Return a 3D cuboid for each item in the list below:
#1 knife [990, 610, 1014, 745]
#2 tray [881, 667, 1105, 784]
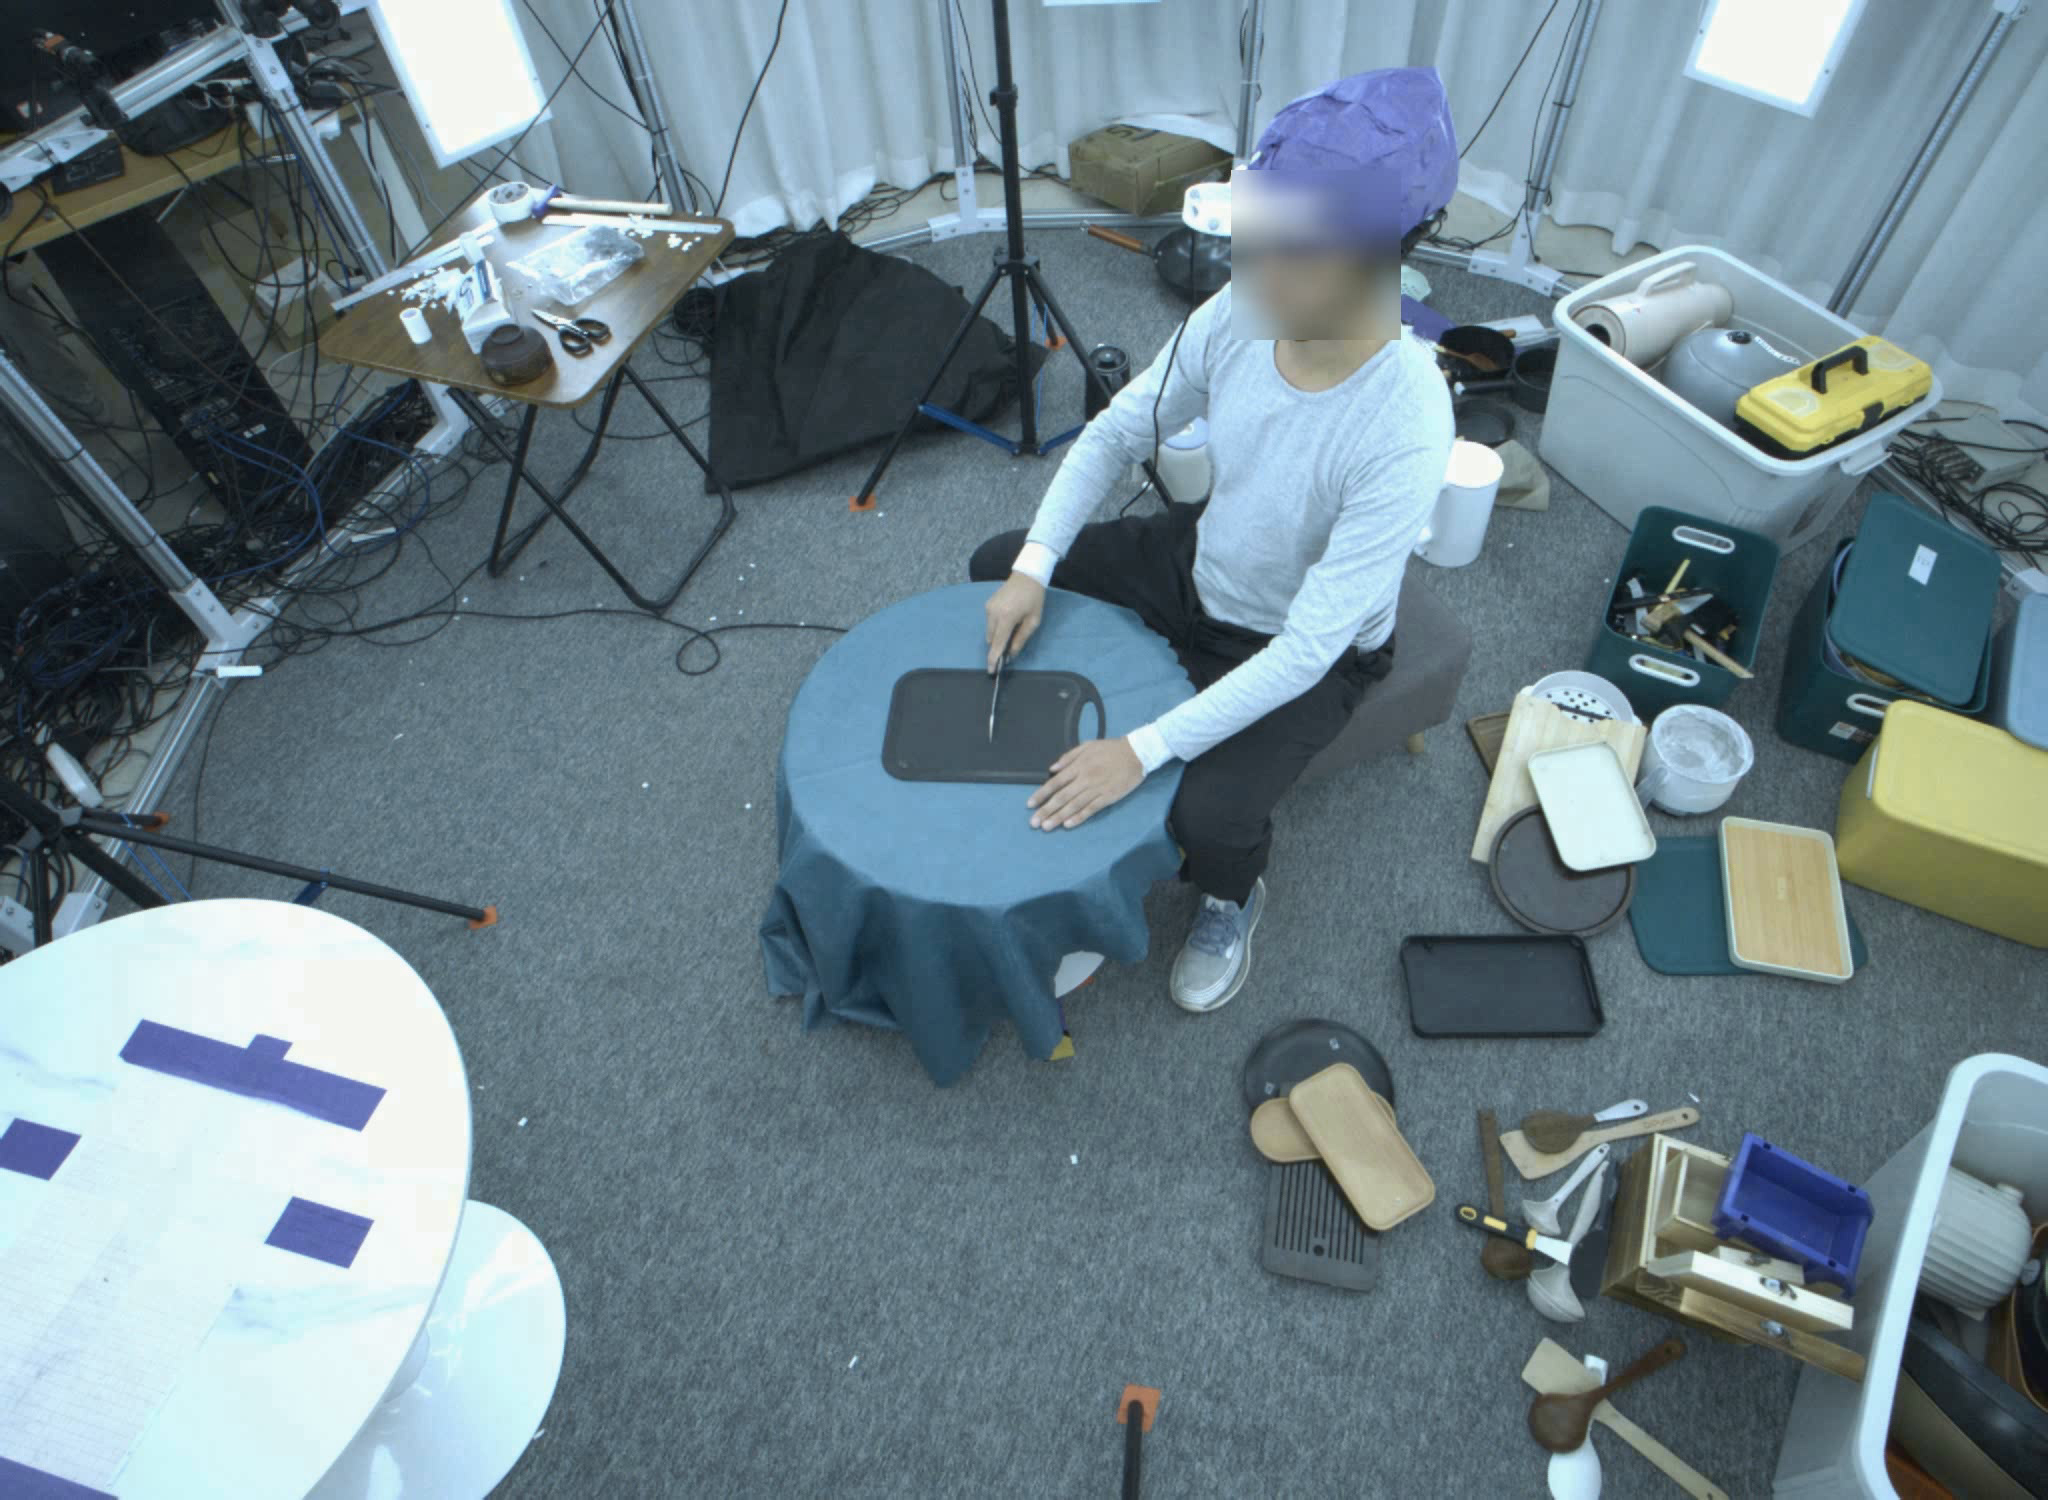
[{"bbox_3d":[-0.036,-0.114,1.851,0.016,0.025,0.236,-4,61,20],"label":"knife"},{"bbox_3d":[-0.043,-0.041,1.822,0.325,0.010,0.209,2,55,3],"label":"tray"}]
